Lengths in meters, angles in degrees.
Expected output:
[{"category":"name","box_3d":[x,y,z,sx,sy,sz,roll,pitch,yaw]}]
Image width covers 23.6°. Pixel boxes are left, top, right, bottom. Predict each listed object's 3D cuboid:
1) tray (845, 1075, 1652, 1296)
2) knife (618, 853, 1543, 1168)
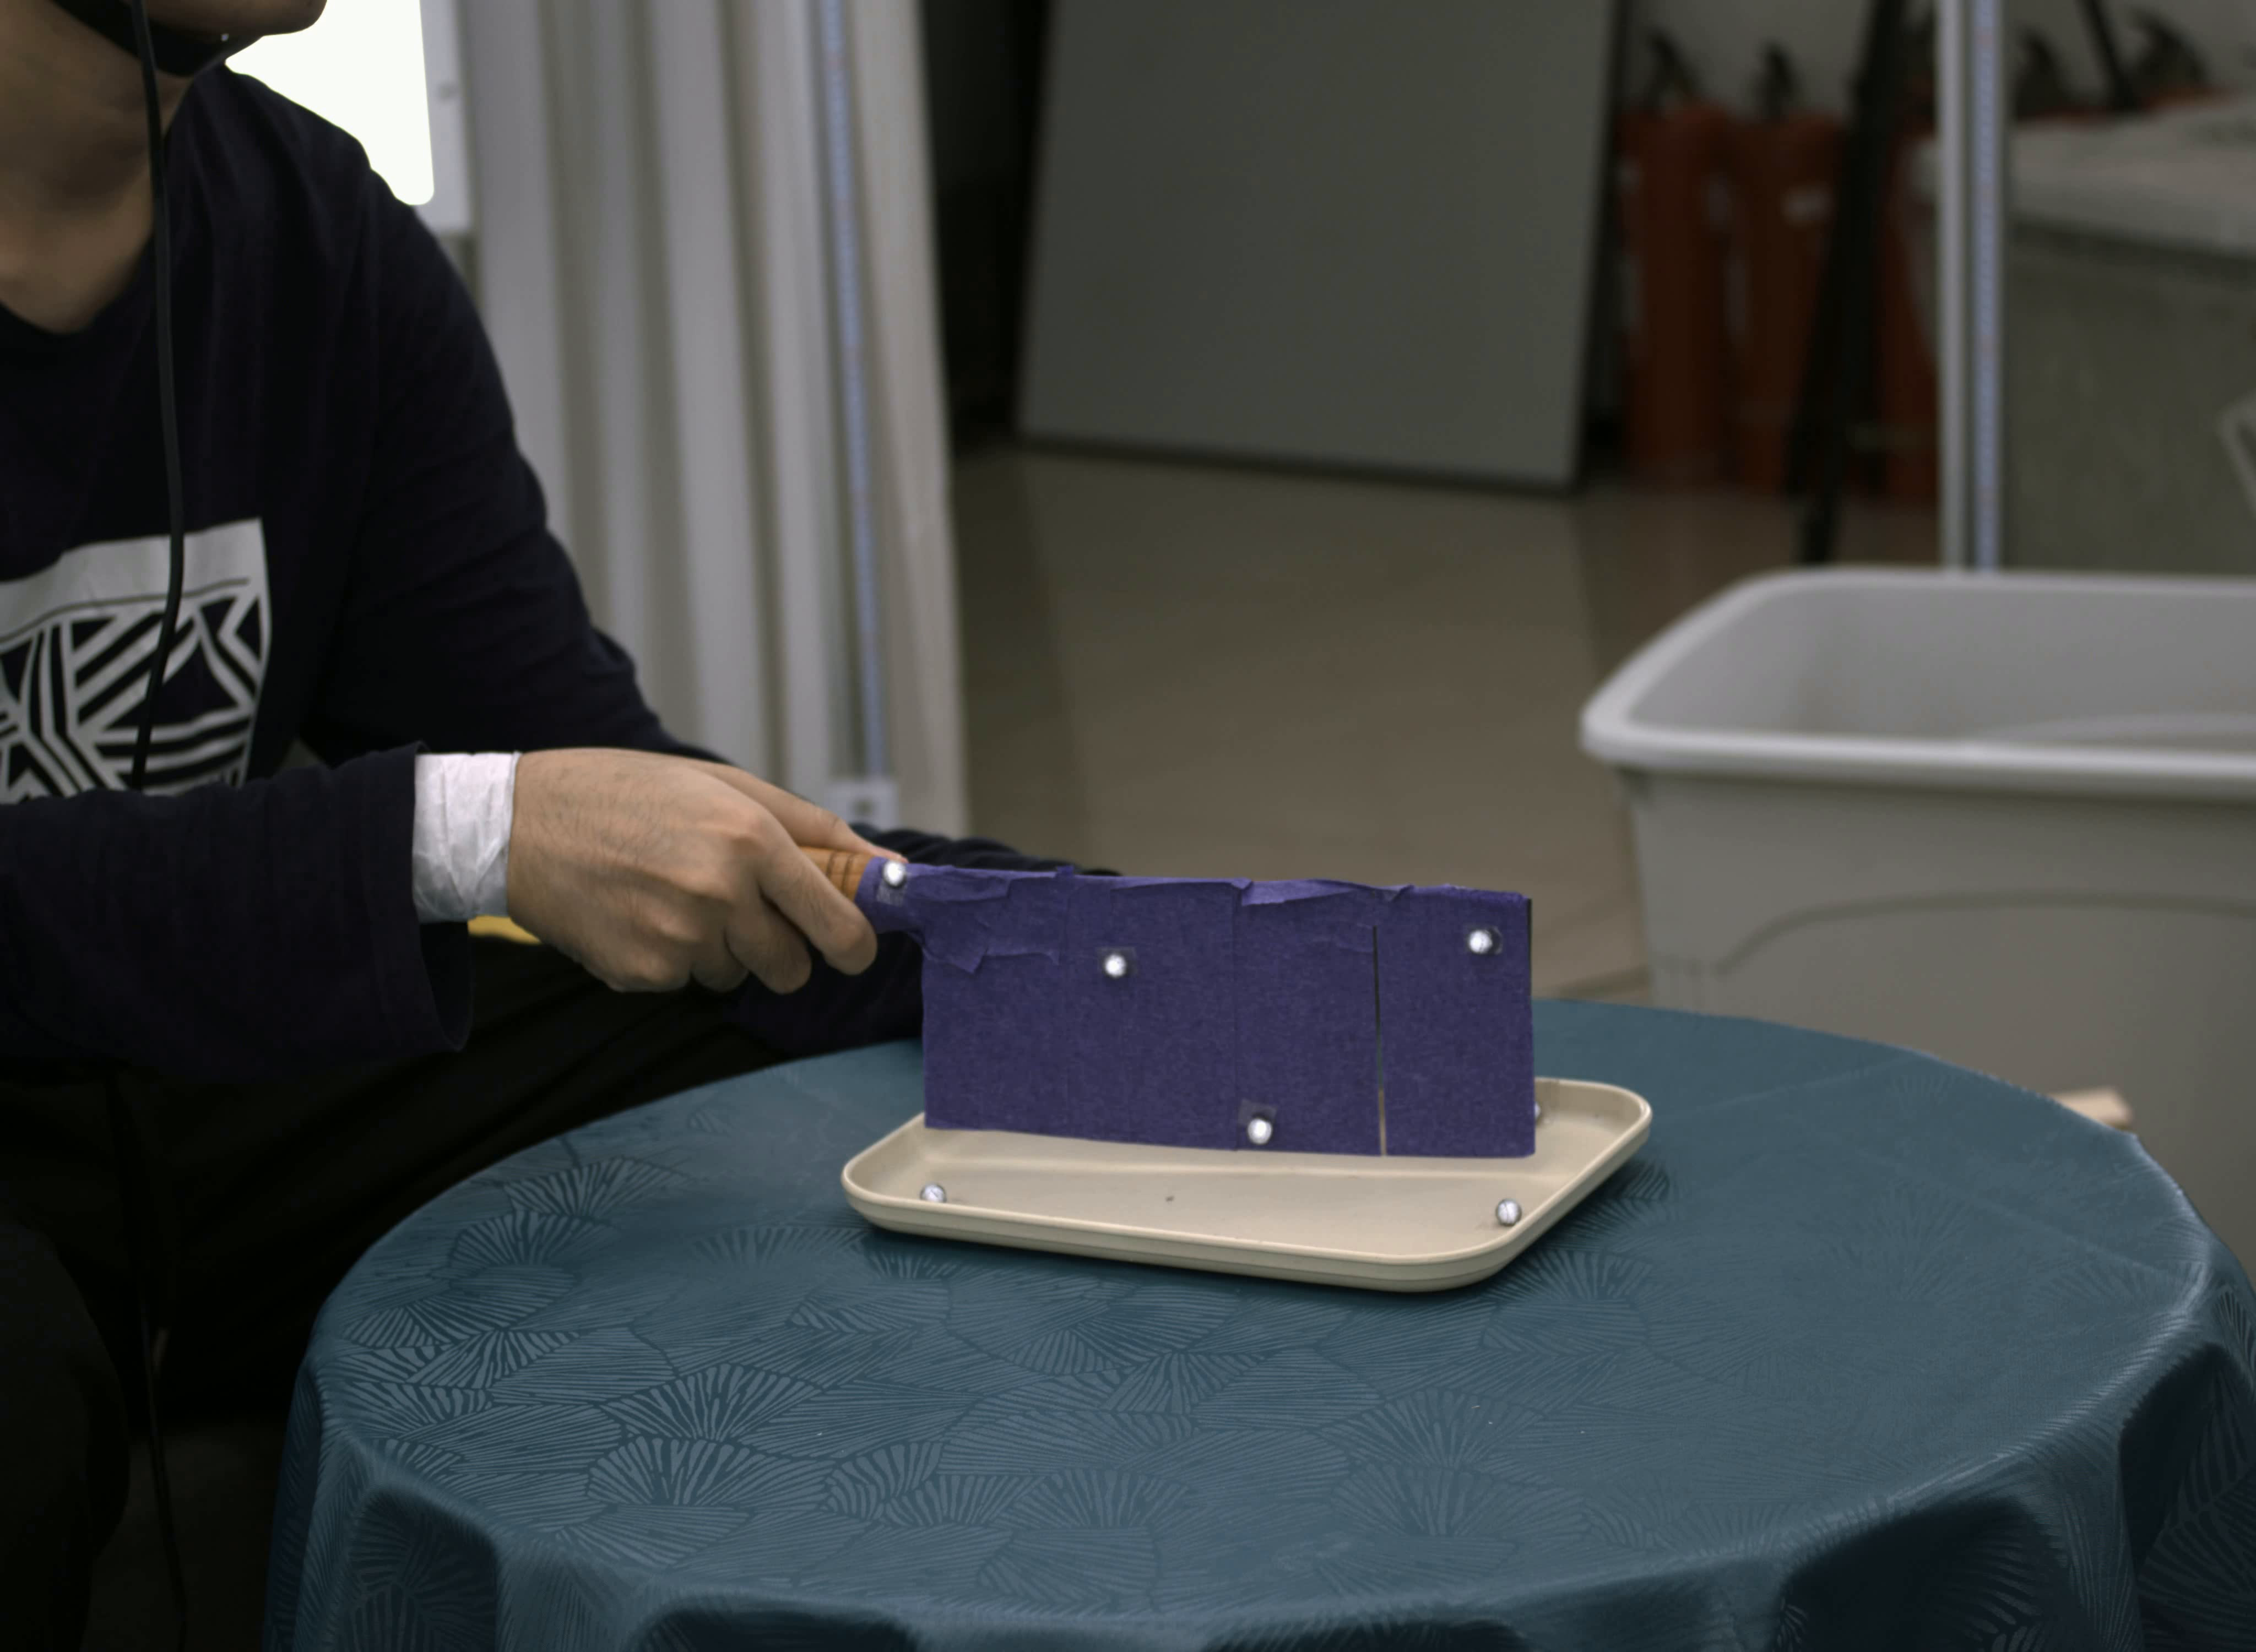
[{"category":"tray","box_3d":[0.040,0.111,1.756,0.240,0.017,0.169,4,19,29]},{"category":"knife","box_3d":[-0.018,0.058,1.769,0.314,0.105,0.032,1,8,18]}]
